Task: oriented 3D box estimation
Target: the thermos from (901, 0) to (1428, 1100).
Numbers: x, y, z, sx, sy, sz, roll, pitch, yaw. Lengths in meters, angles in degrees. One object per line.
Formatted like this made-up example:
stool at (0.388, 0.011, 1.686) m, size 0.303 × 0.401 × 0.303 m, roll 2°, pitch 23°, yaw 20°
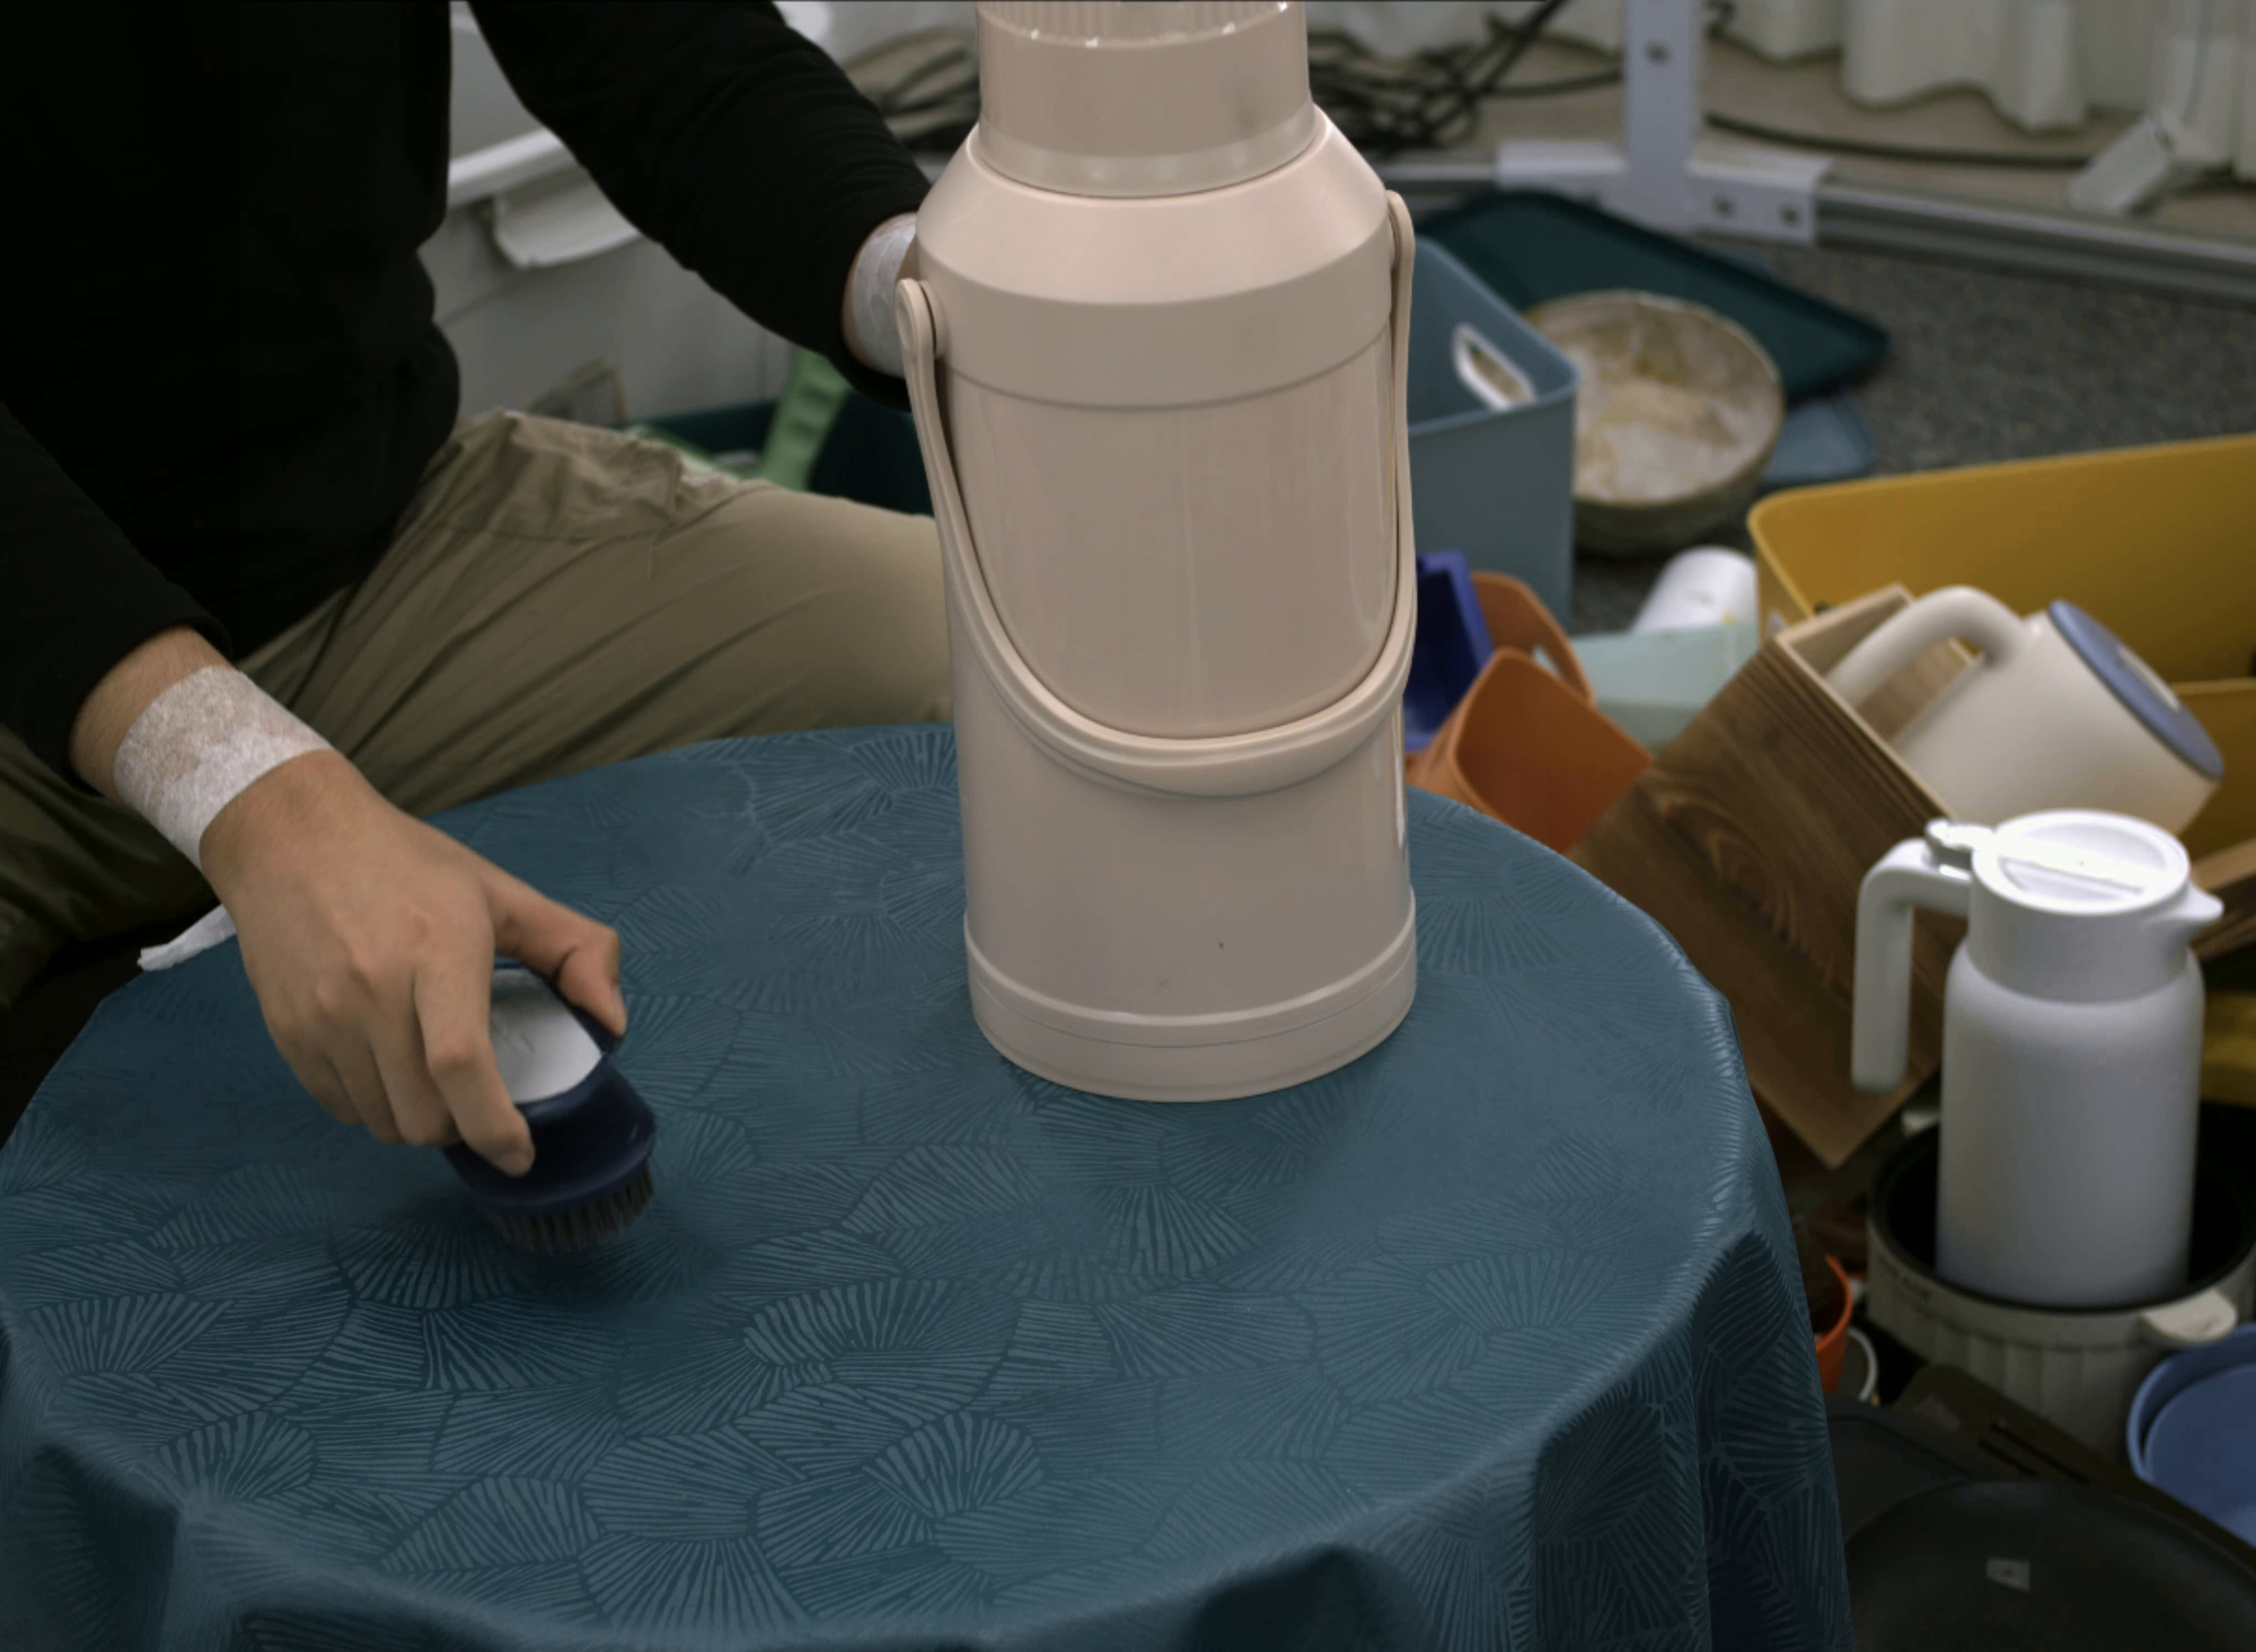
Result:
thermos at (0.012, -0.124, 1.909) m, size 0.176 × 0.402 × 0.209 m, roll -13°, pitch 28°, yaw -16°

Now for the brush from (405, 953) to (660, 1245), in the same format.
brush at (-0.194, 0.091, 1.828) m, size 0.068 × 0.060 × 0.122 m, roll -19°, pitch 27°, yaw -14°
